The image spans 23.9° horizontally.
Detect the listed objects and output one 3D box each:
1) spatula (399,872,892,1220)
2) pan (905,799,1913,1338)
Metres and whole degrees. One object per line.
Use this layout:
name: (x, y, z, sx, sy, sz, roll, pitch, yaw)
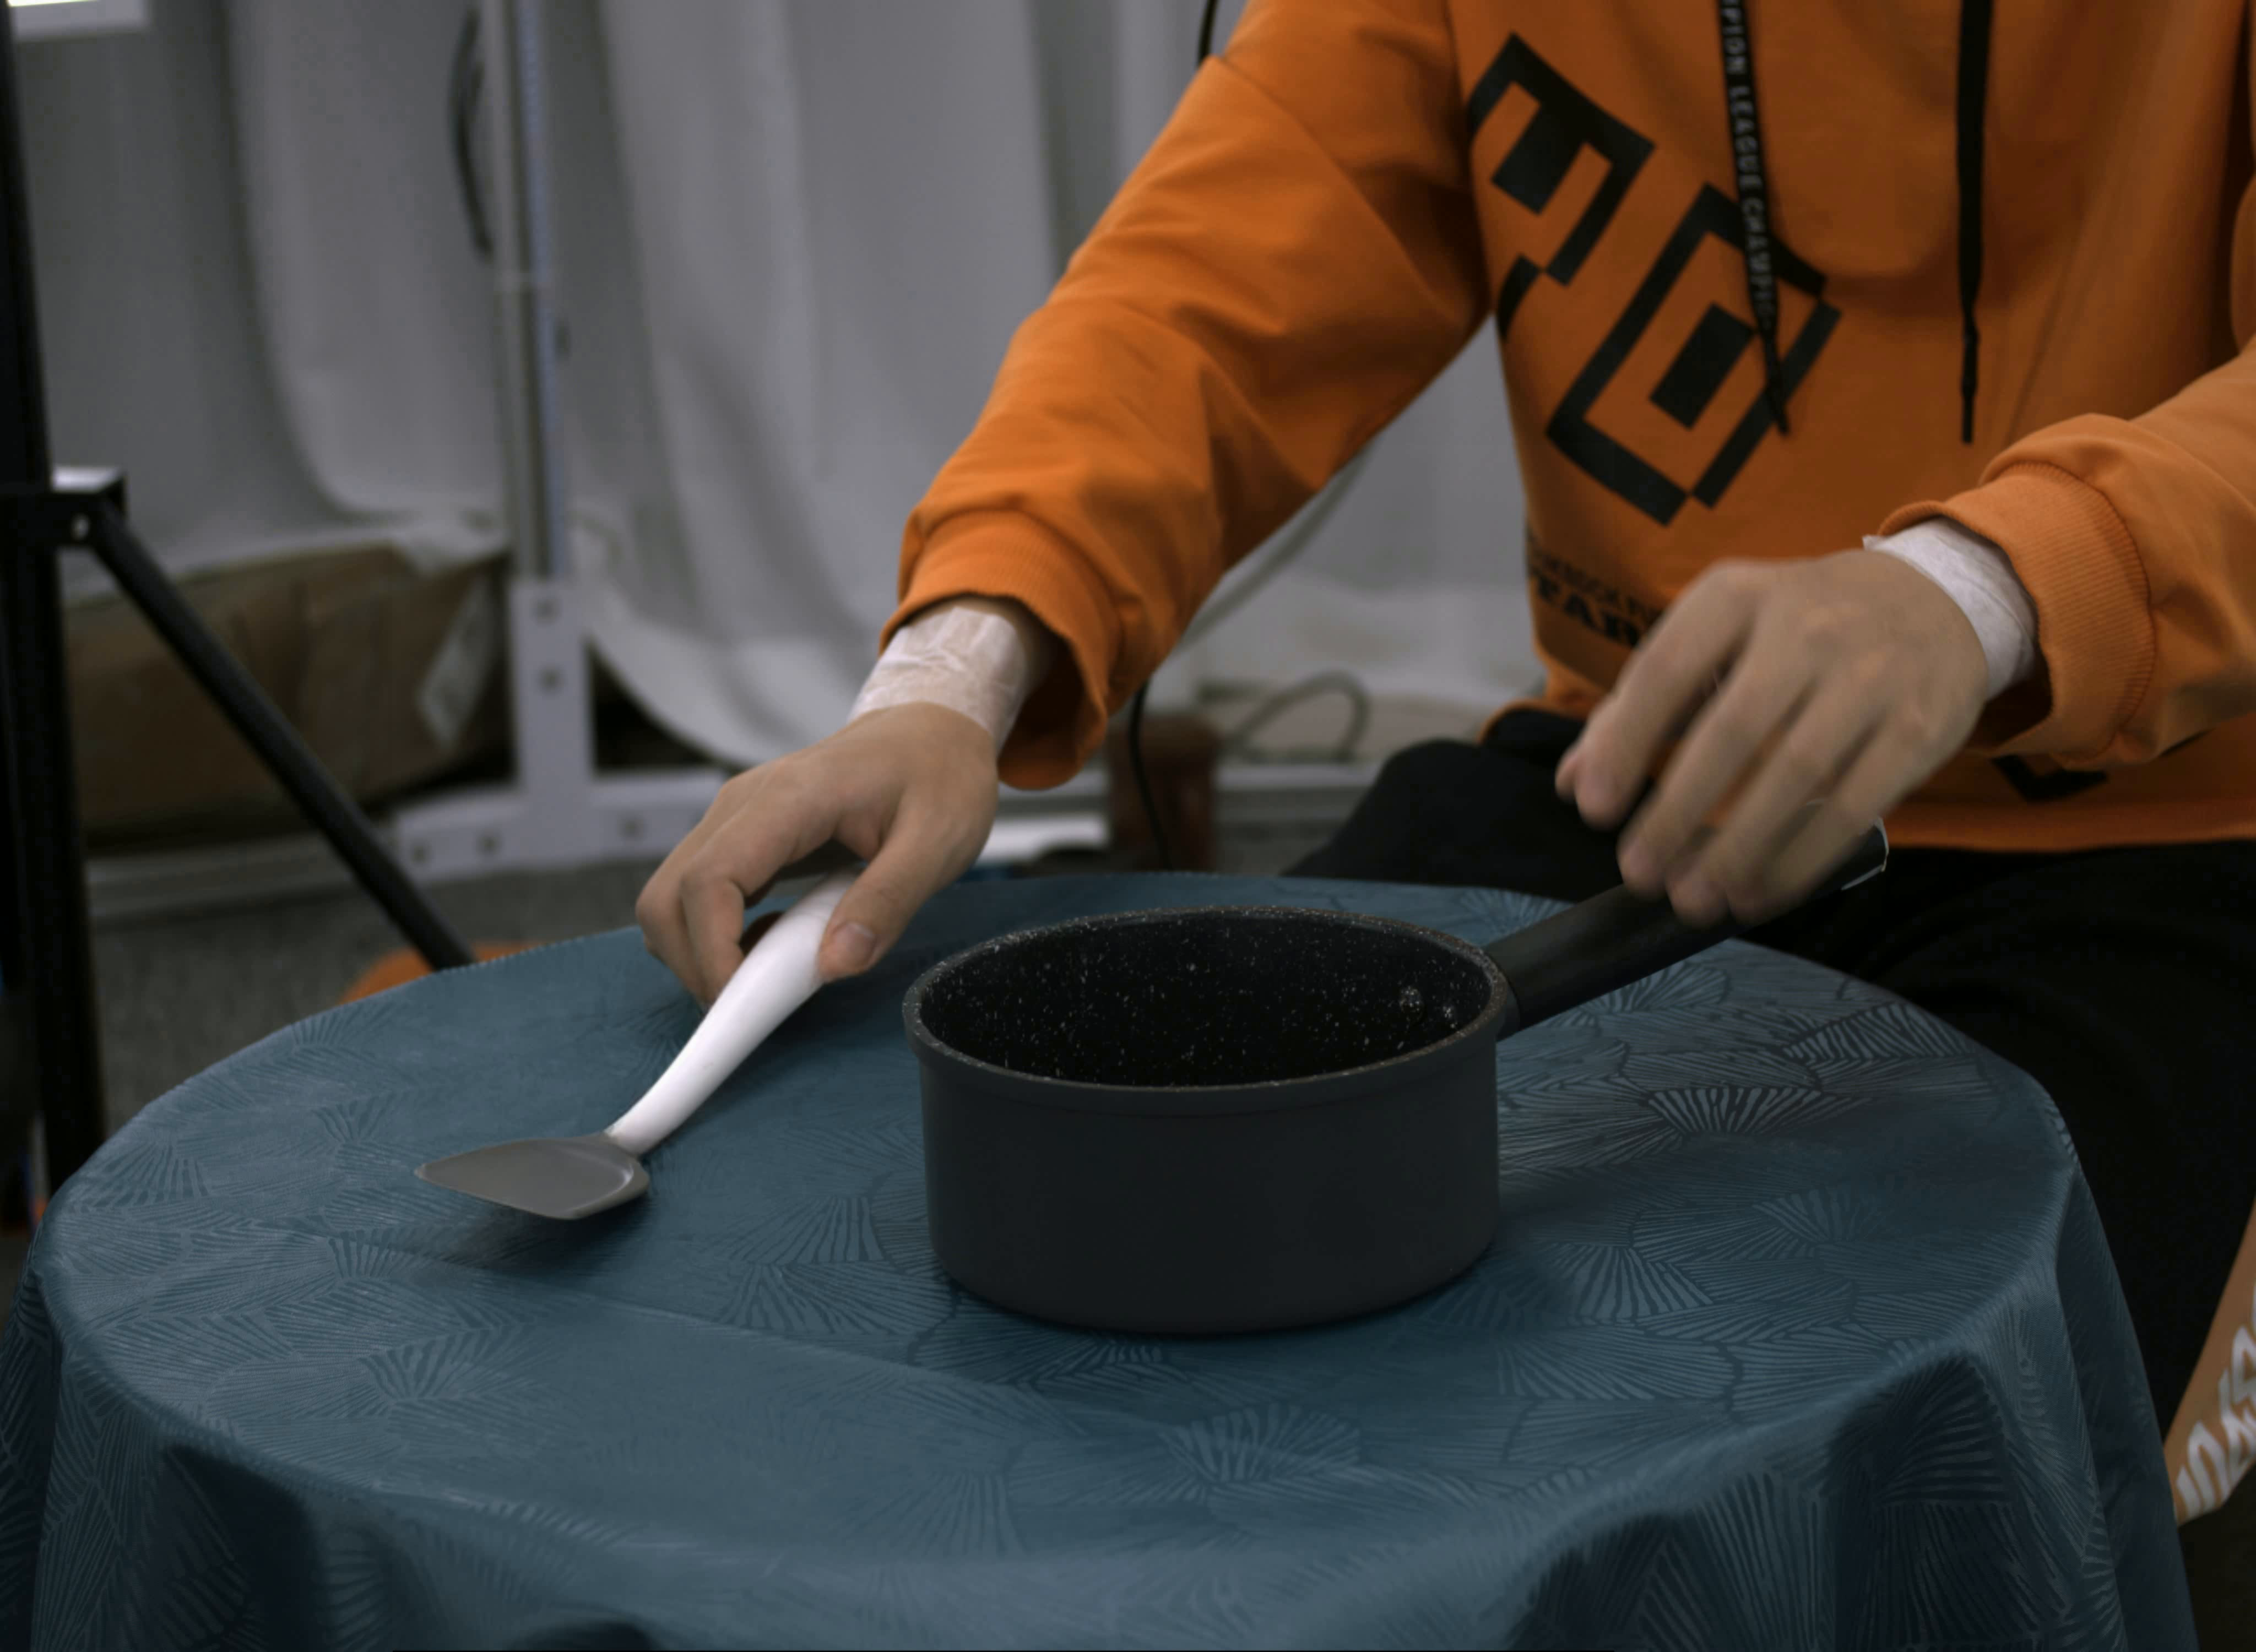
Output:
spatula: (-0.138, 0.073, 1.640, 0.059, 0.032, 0.284, 17, 22, 14)
pan: (0.091, 0.066, 1.538, 0.322, 0.086, 0.176, -13, 19, -27)
